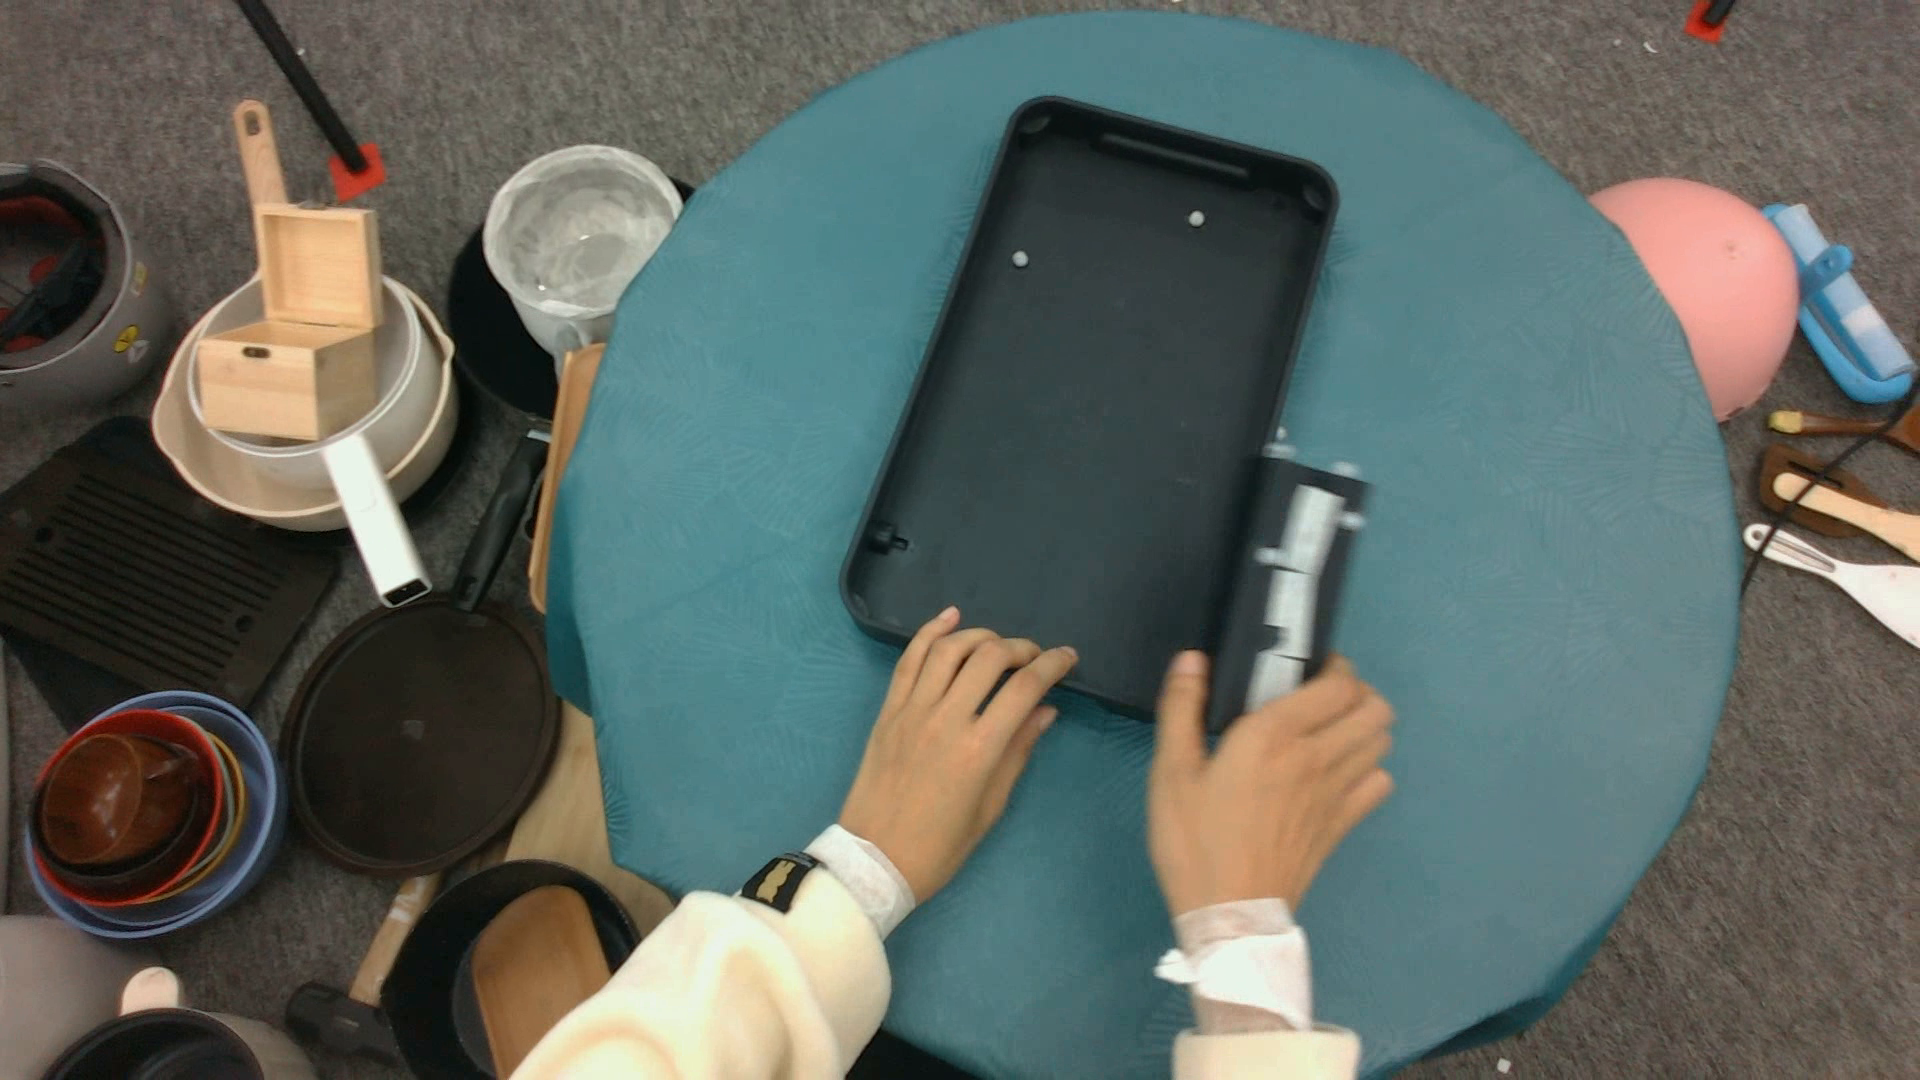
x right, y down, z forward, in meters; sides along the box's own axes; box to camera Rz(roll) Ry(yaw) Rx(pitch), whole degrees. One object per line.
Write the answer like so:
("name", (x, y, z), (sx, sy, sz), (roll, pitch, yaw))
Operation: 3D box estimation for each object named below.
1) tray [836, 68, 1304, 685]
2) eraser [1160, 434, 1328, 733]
("tray", (0.063, -0.093, 0.711), (0.184, 0.037, 0.319), (13, 69, 4))
("eraser", (0.124, 0.019, 0.604), (0.053, 0.030, 0.125), (11, 85, -12))
